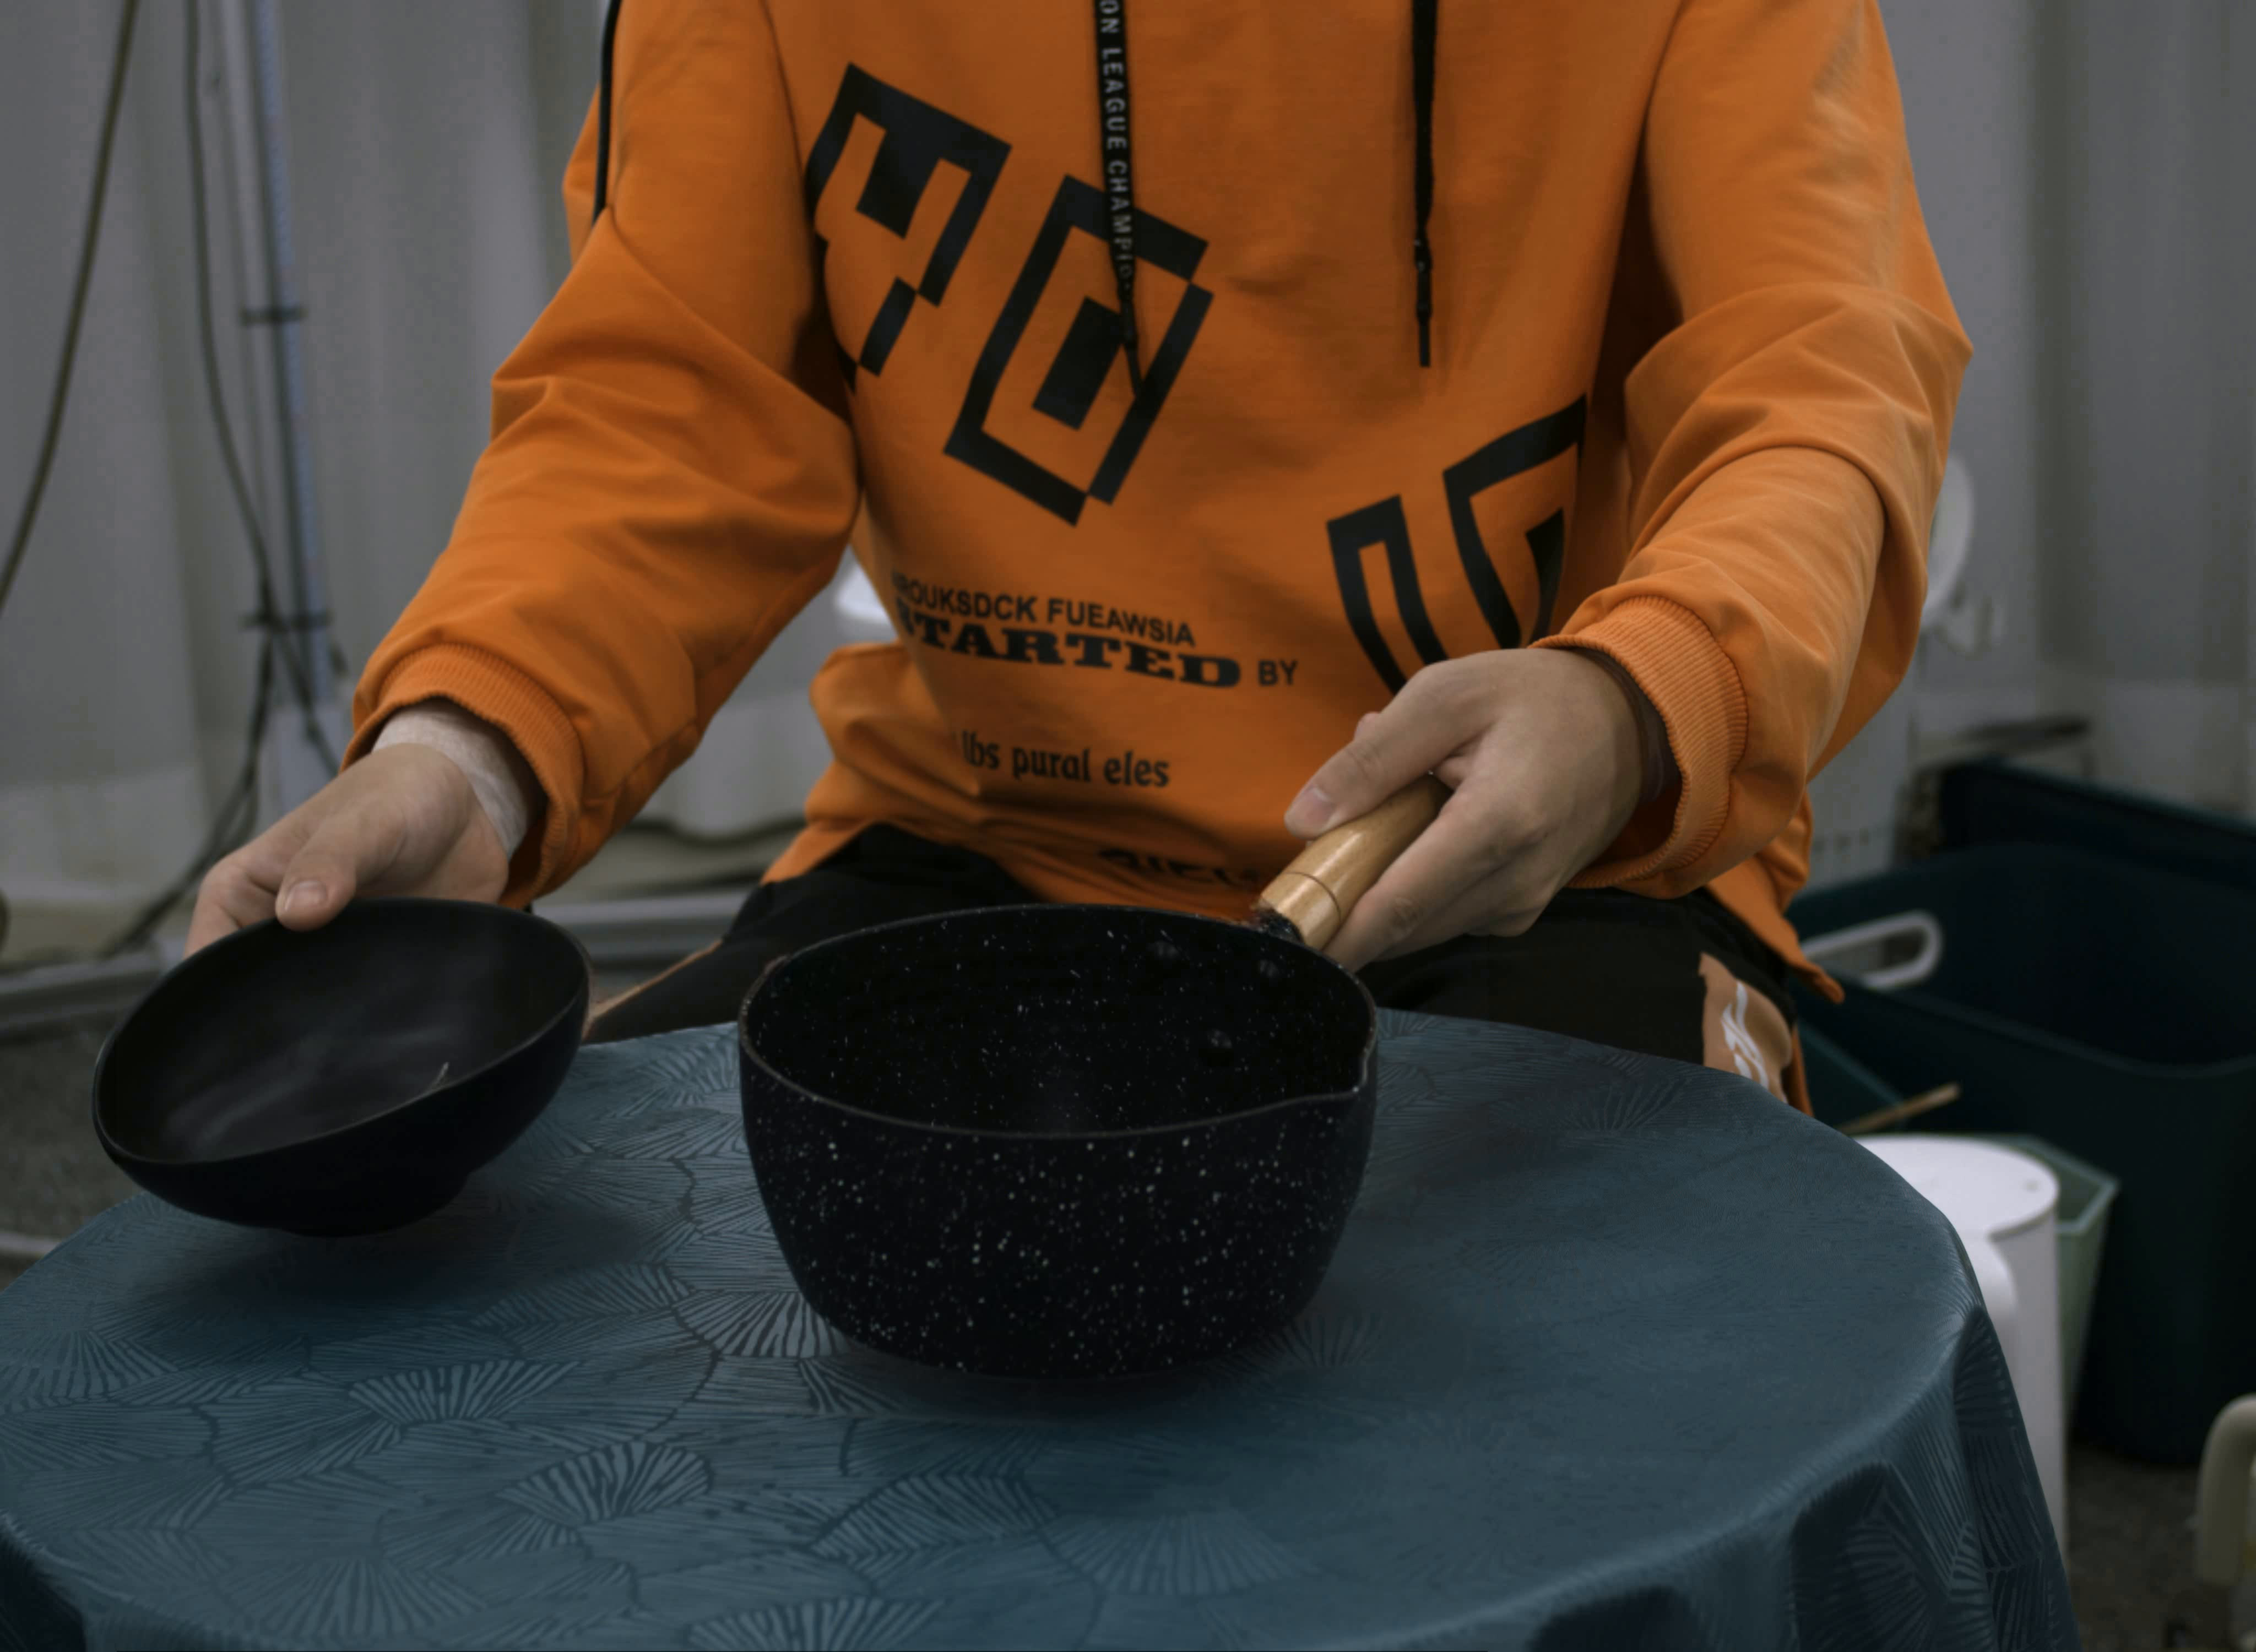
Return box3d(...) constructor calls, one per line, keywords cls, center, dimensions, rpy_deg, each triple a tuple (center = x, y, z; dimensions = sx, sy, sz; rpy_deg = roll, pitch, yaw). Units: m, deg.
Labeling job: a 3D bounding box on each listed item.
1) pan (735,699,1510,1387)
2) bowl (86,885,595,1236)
box3d(cls="pan", center=(0.021, 0.059, 1.640), dimensions=(0.208, 0.107, 0.343), rpy_deg=(10, 23, 30))
box3d(cls="bowl", center=(-0.239, 0.083, 1.697), dimensions=(0.138, 0.066, 0.170), rpy_deg=(19, 36, 39))
